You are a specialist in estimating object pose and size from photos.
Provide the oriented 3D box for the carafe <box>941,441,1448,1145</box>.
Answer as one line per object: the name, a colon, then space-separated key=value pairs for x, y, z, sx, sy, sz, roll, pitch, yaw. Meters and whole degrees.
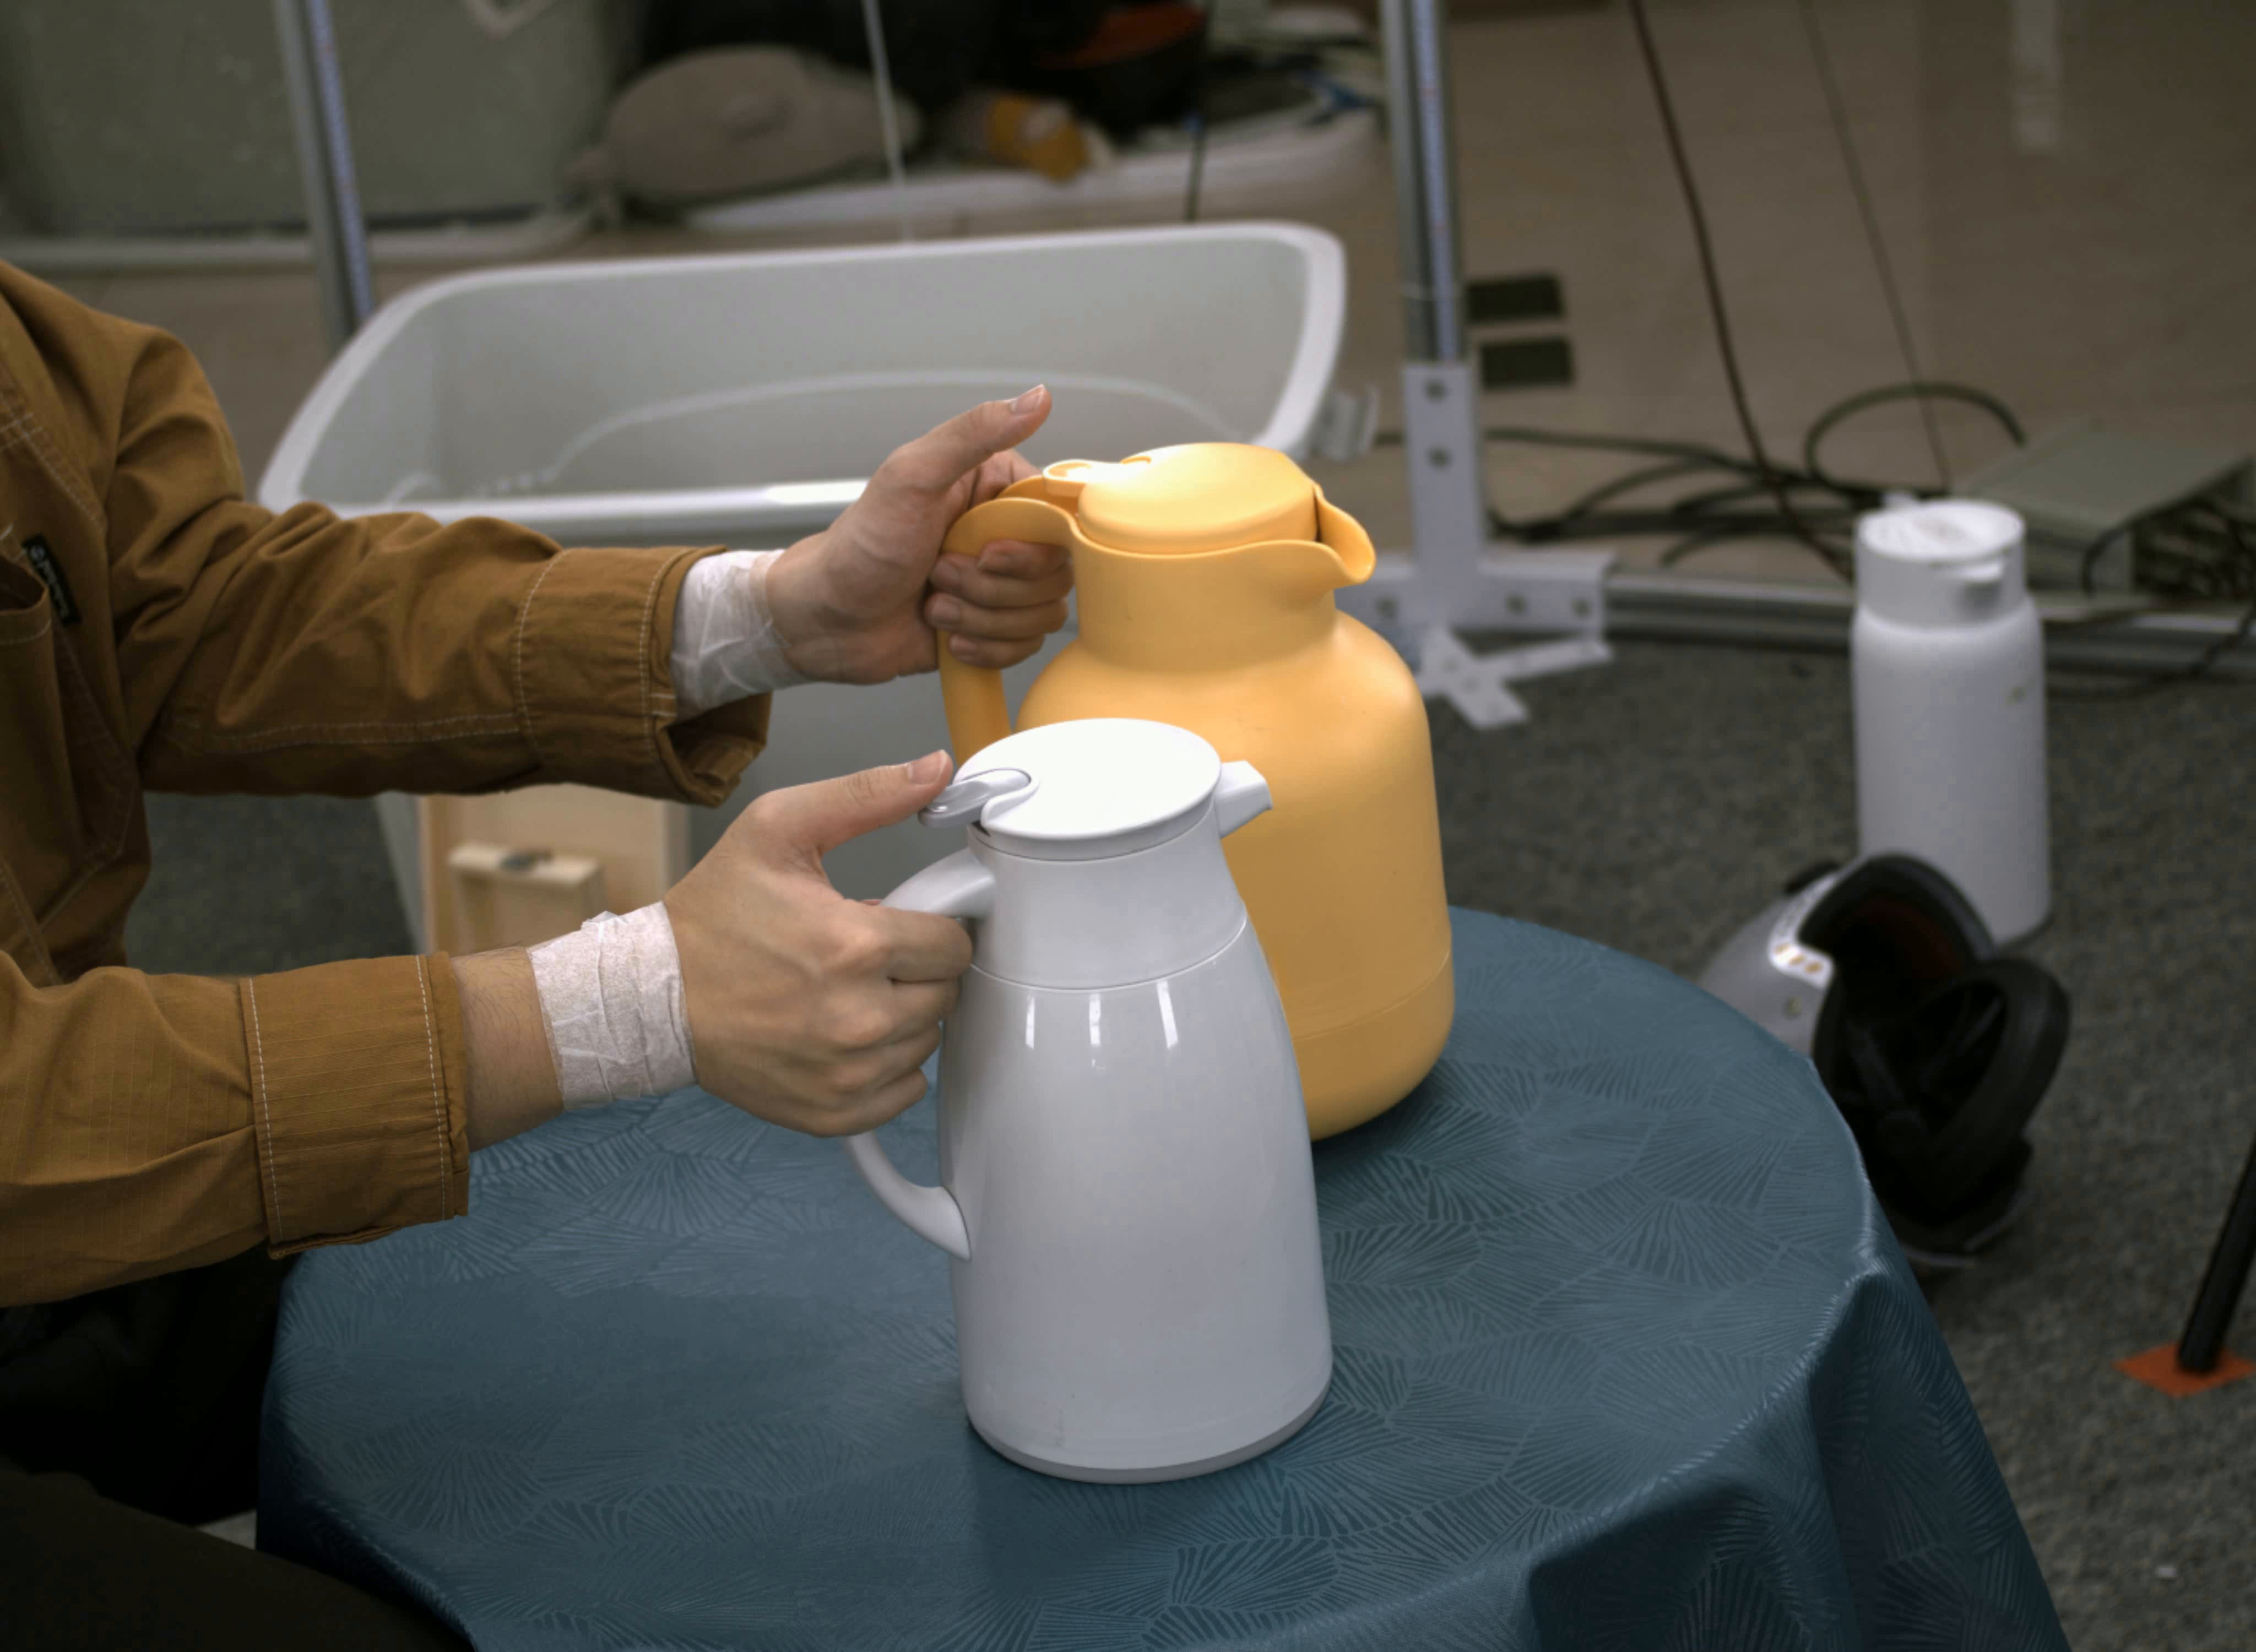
carafe: x=0.022 y=-0.019 z=2.170 sx=0.201 sy=0.264 sz=0.162 roll=14 pitch=31 yaw=33

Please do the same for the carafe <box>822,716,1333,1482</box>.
carafe: x=-0.020 y=0.092 z=1.953 sx=0.167 sy=0.253 sz=0.131 roll=-15 pitch=29 yaw=-17
